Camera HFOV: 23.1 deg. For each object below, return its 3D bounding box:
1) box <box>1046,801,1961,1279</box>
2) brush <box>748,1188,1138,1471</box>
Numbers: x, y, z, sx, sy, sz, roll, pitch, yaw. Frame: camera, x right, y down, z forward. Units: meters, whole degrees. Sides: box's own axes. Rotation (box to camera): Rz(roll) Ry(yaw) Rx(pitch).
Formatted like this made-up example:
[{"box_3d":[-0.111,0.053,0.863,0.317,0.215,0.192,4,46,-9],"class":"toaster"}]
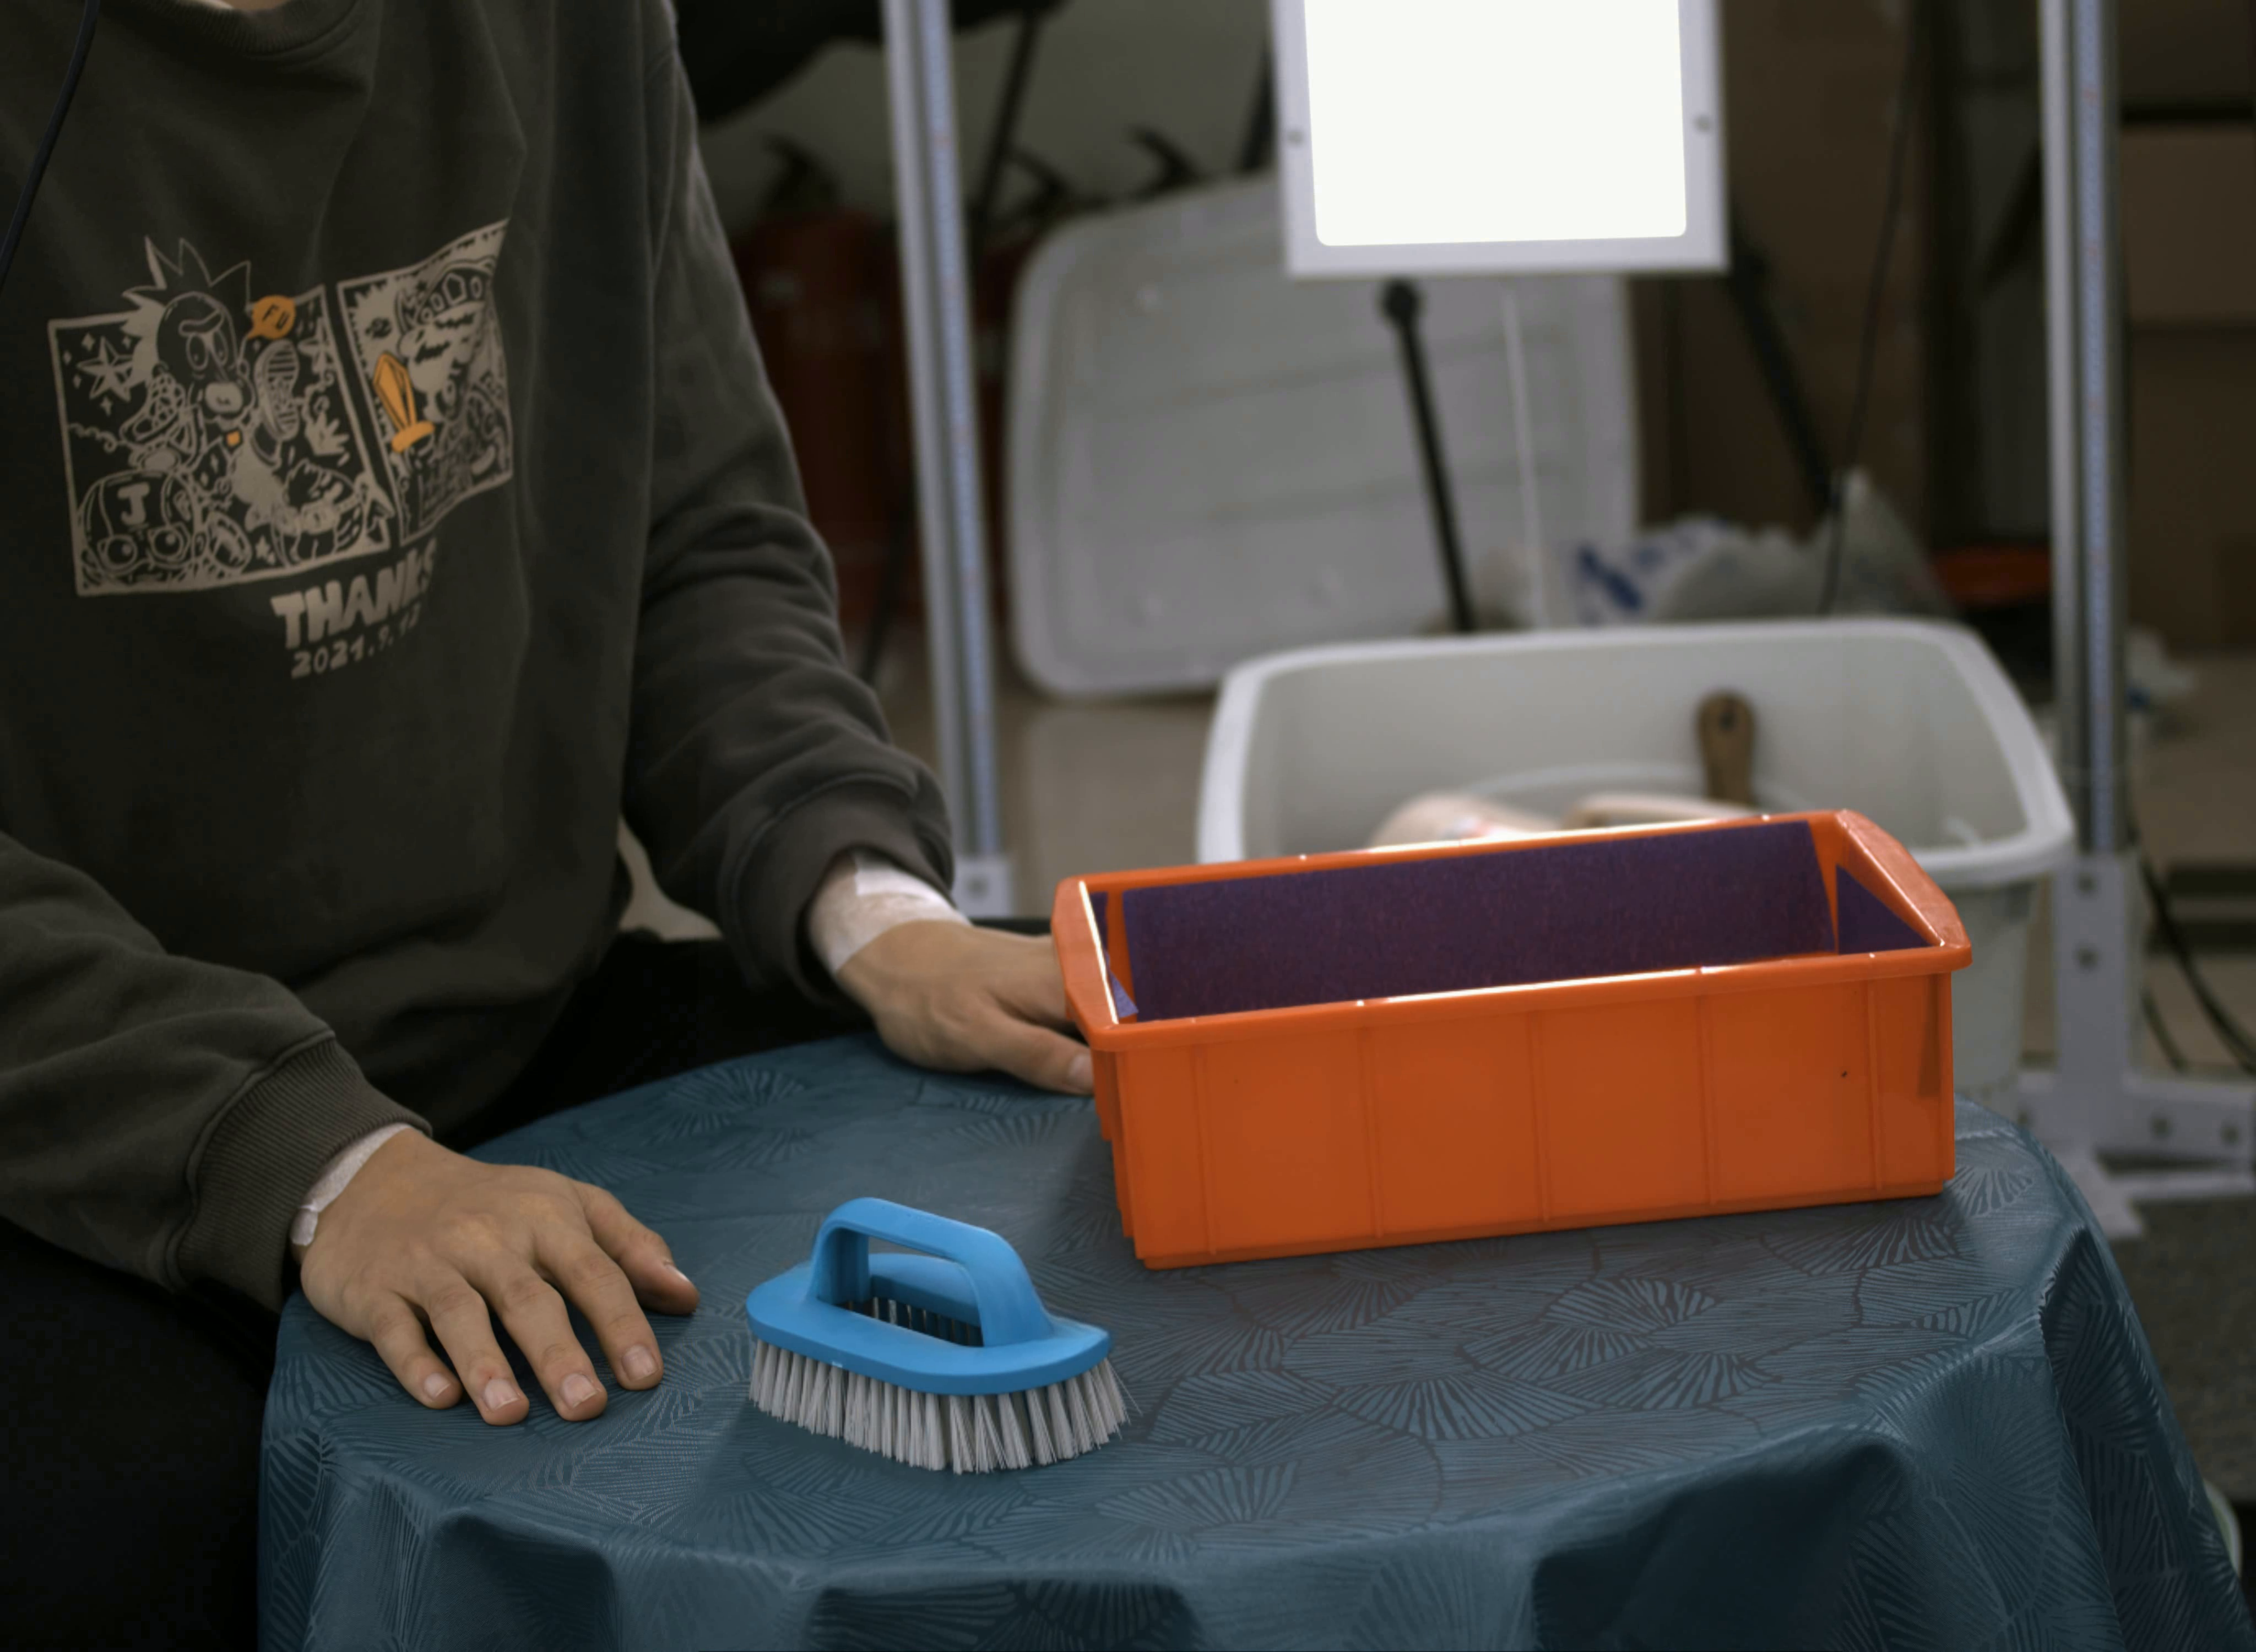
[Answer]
[{"box_3d":[0.127,0.072,1.892,0.303,0.097,0.206,-5,14,0],"class":"box"},{"box_3d":[-0.061,0.147,1.698,0.082,0.064,0.145,-21,19,-34],"class":"brush"}]
